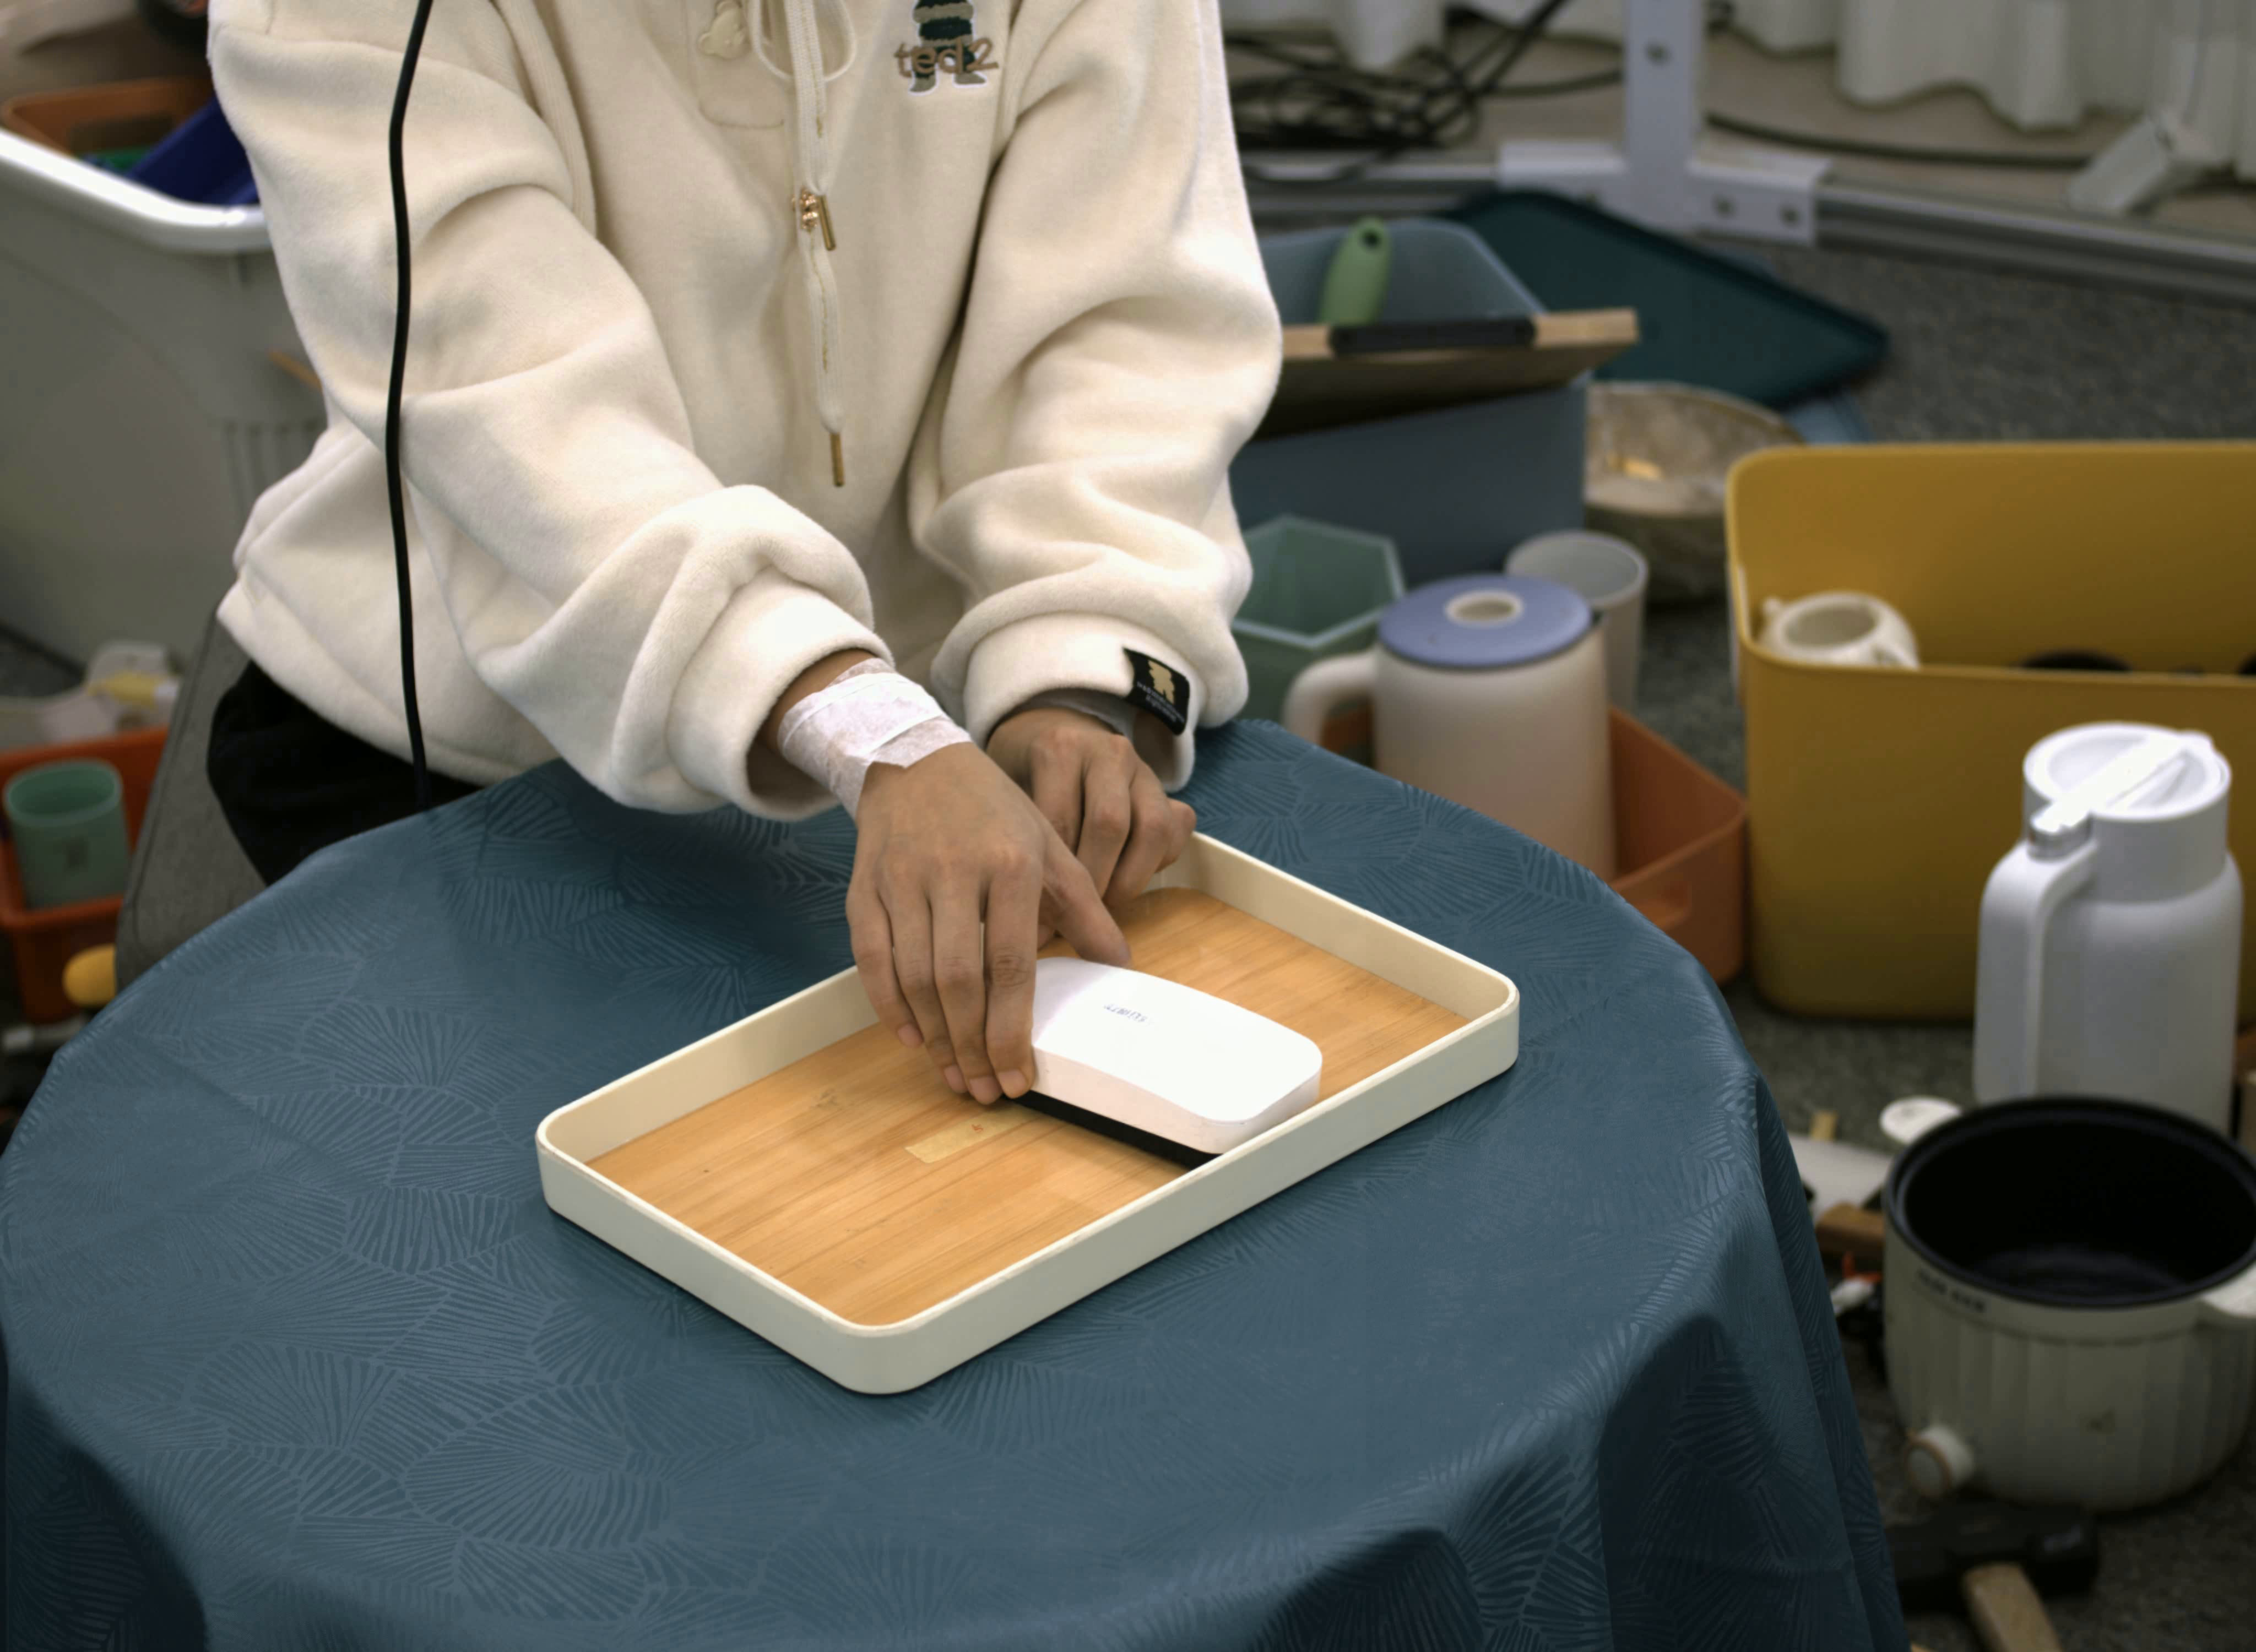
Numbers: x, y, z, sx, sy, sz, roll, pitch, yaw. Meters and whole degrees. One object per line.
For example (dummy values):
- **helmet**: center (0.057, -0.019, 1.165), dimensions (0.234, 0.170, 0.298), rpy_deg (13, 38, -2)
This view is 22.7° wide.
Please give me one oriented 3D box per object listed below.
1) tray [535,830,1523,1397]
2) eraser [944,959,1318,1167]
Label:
- **tray**: center (-0.031, 0.091, 1.894), dimensions (0.303, 0.027, 0.191), rpy_deg (-25, 35, -36)
- **eraser**: center (0.001, 0.078, 1.899), dimensions (0.131, 0.034, 0.064), rpy_deg (19, 34, 36)
